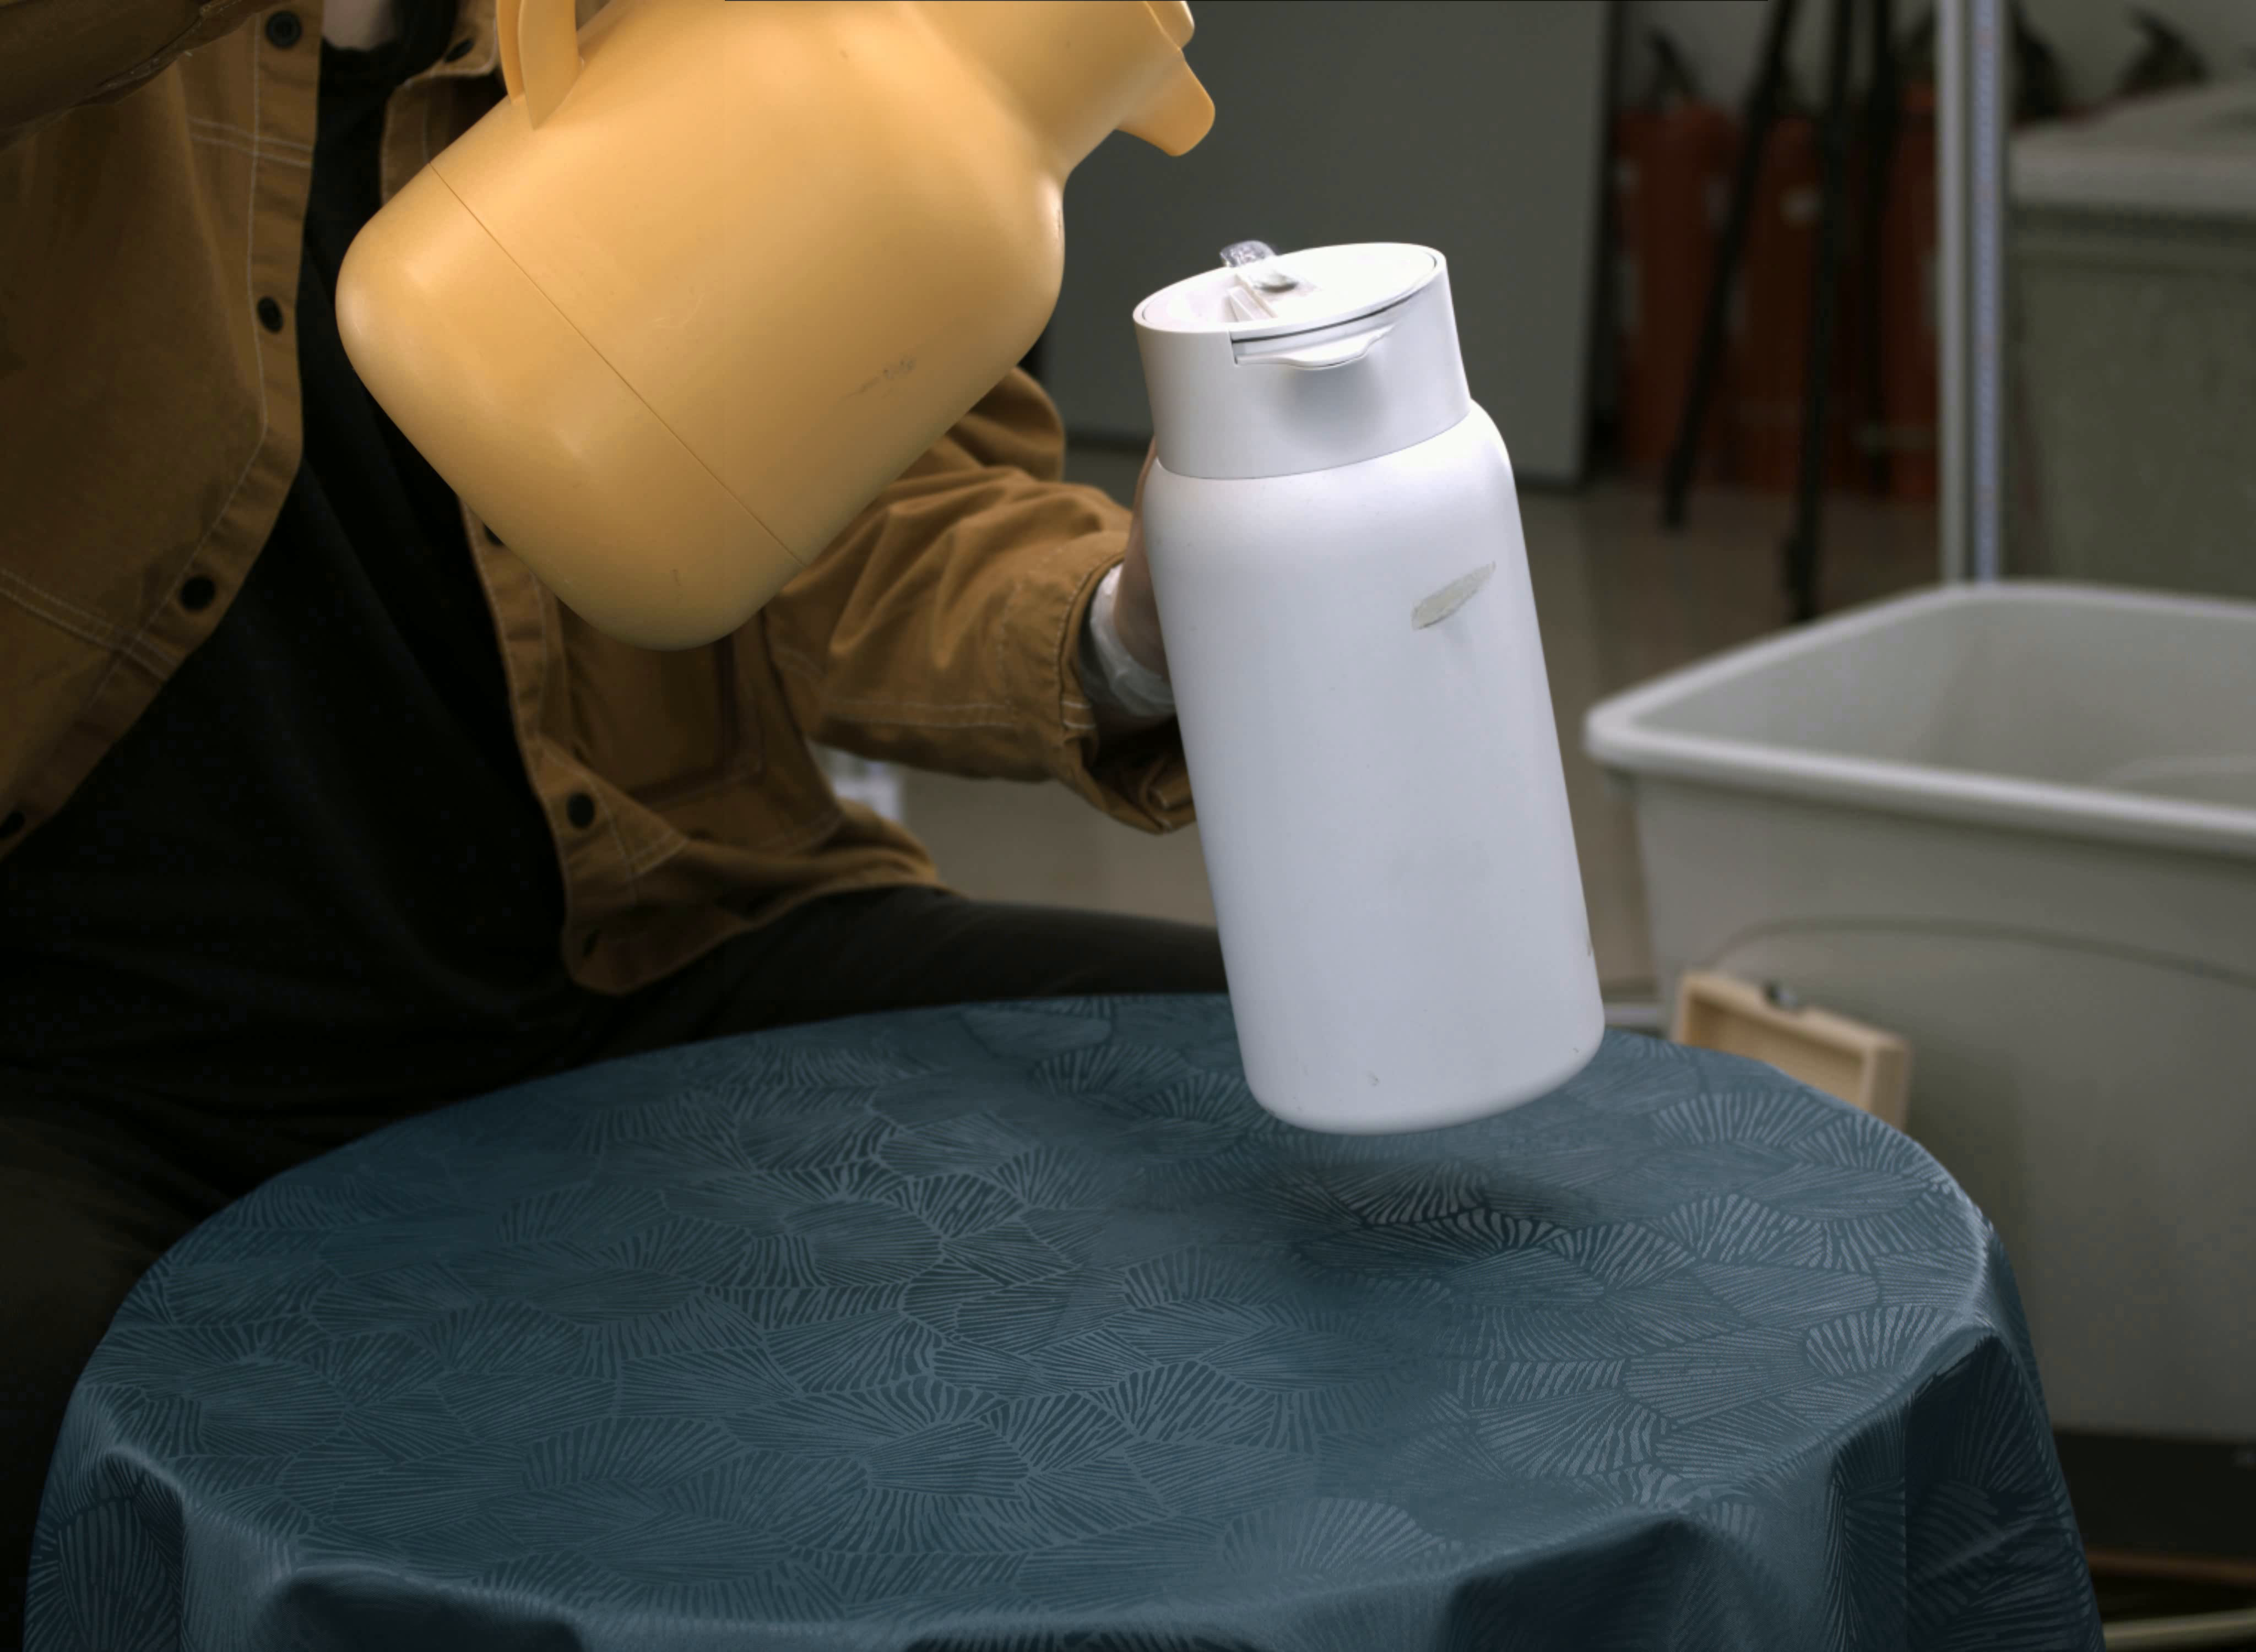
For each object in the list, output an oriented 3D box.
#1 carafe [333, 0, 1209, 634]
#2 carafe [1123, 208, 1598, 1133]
[{"bbox_3d":[-0.111,-0.204,1.588,0.260,0.200,0.165,-44,29,-2],"label":"carafe"},{"bbox_3d":[0.066,-0.051,1.701,0.122,0.271,0.174,-15,17,-5],"label":"carafe"}]
